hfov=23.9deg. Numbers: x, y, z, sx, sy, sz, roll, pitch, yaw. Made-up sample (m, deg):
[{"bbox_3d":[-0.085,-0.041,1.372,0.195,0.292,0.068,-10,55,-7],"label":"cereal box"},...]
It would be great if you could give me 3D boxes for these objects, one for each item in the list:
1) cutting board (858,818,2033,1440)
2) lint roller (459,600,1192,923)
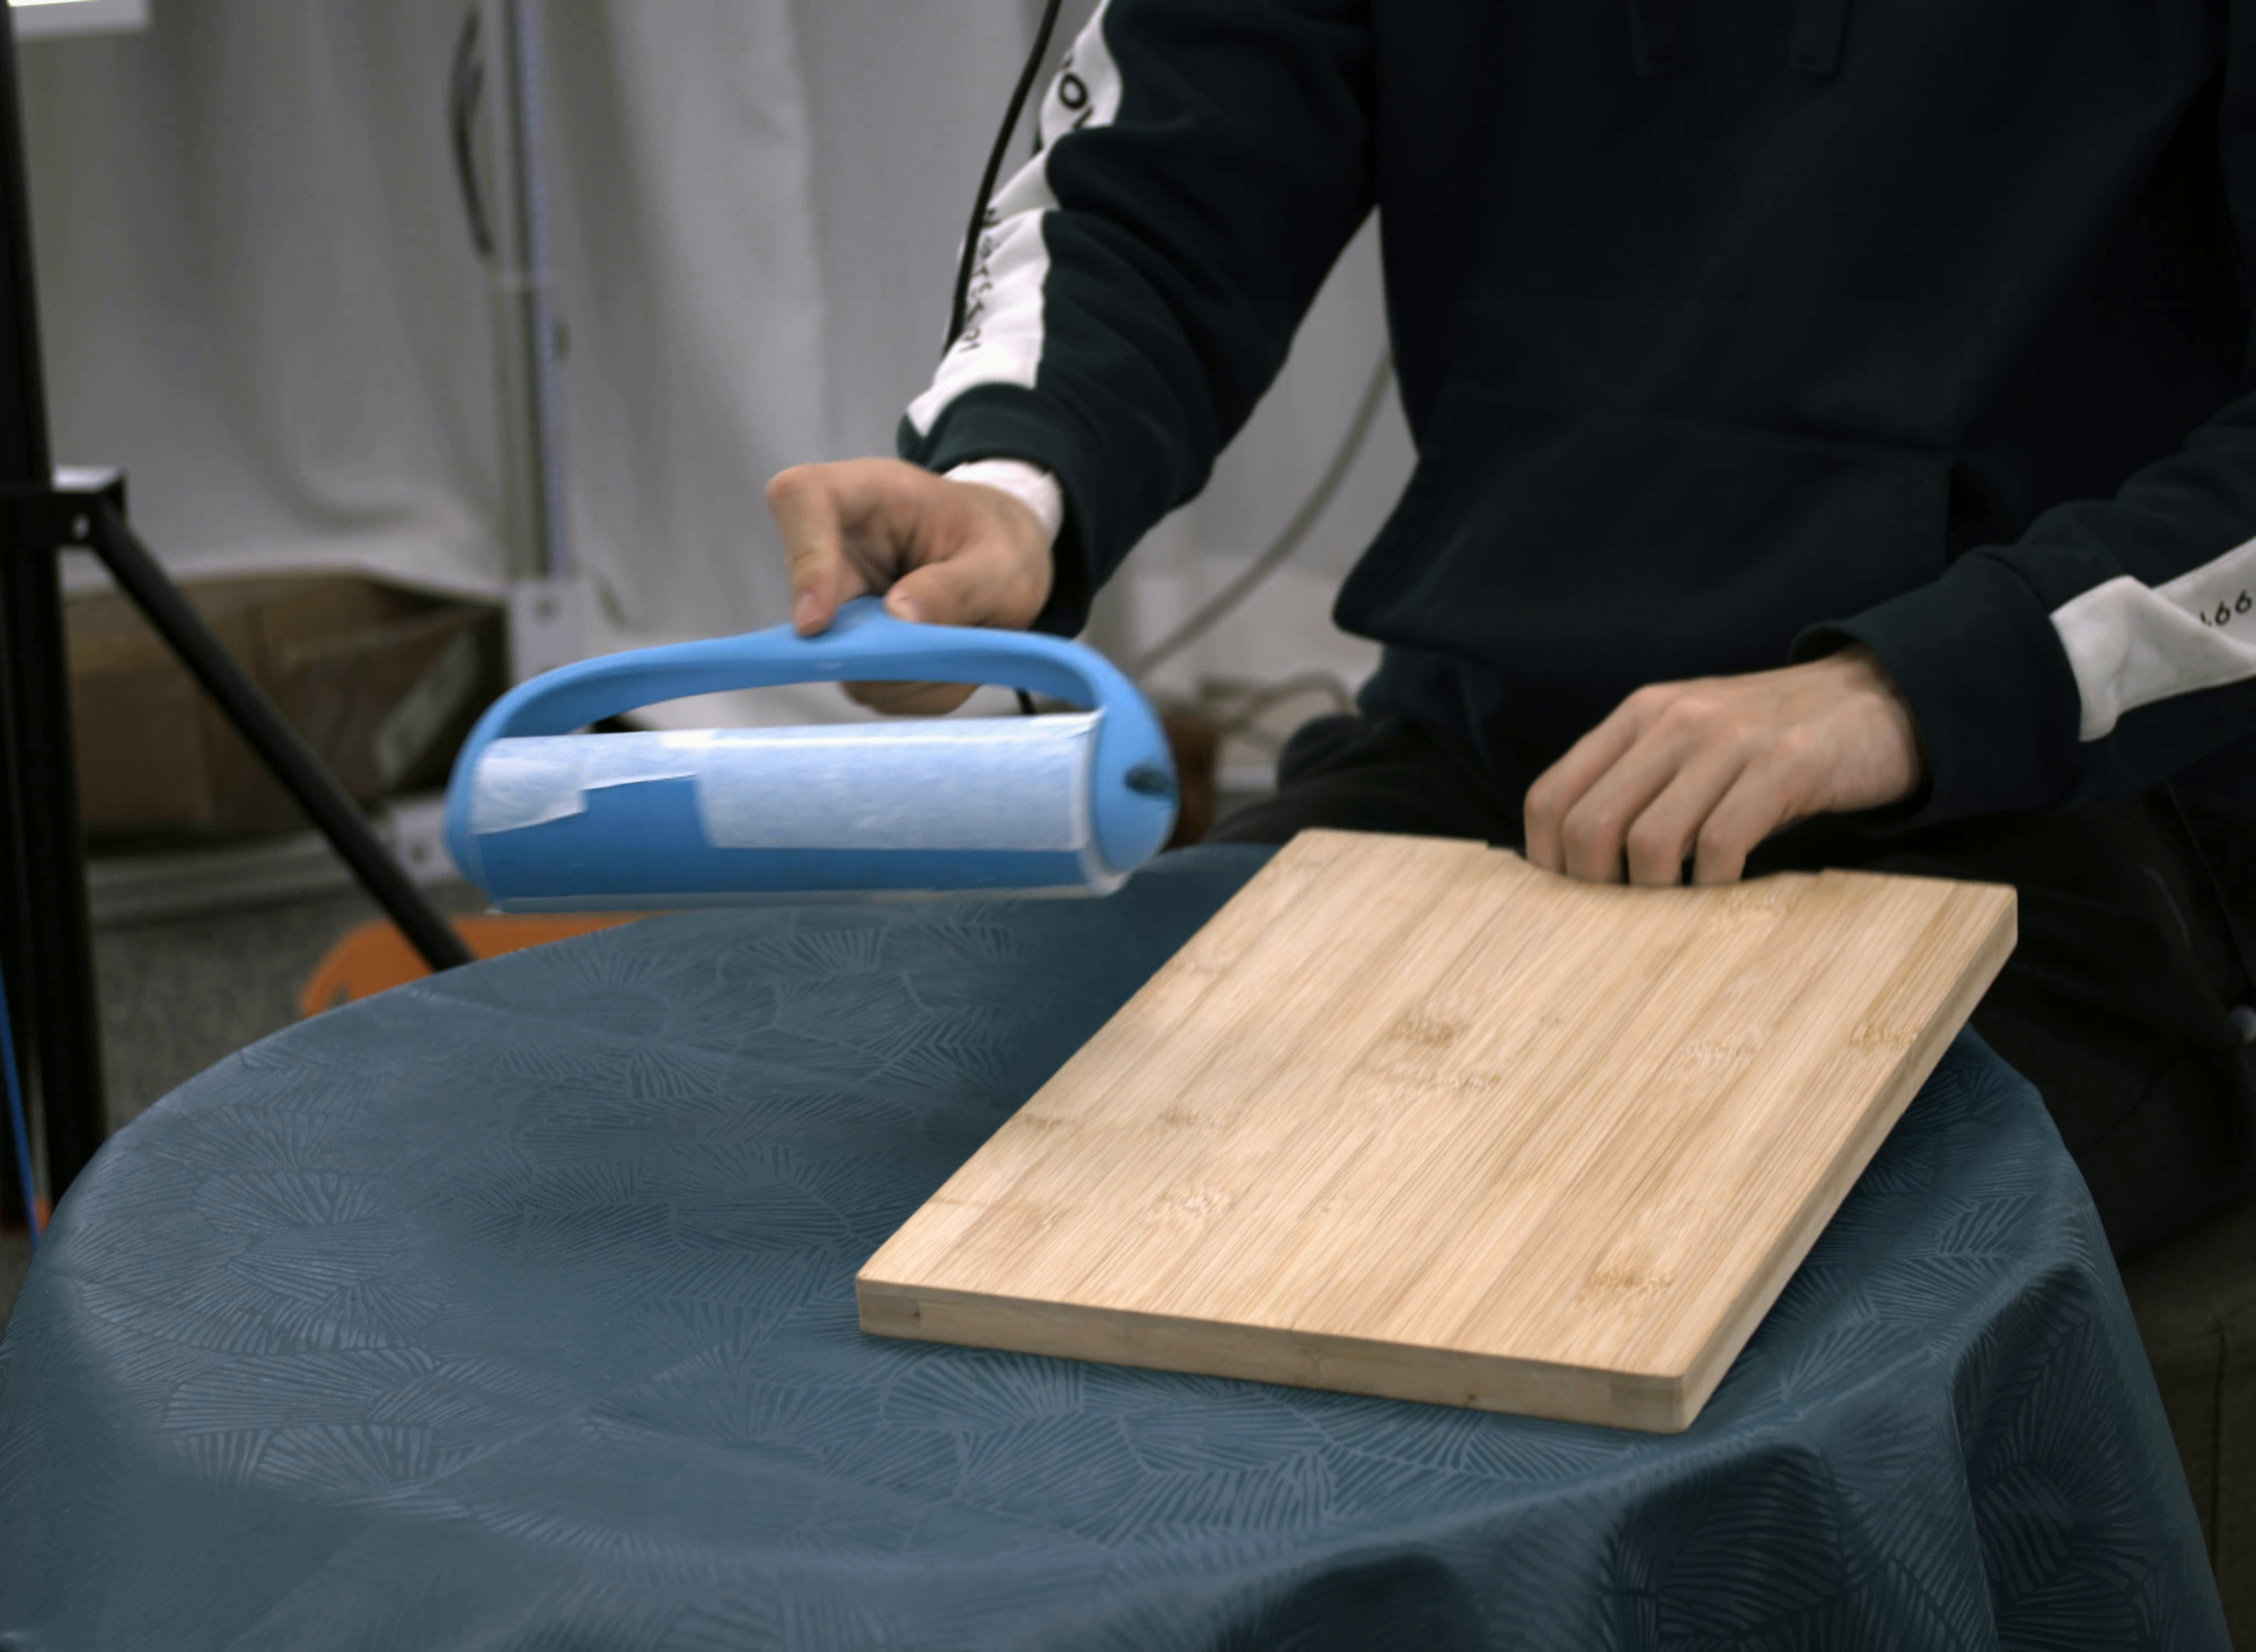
[{"bbox_3d":[0.103,0.078,1.551,0.254,0.023,0.345,4,24,23],"label":"cutting board"},{"bbox_3d":[-0.080,-0.034,1.621,0.231,0.067,0.180,-6,29,18],"label":"lint roller"}]
